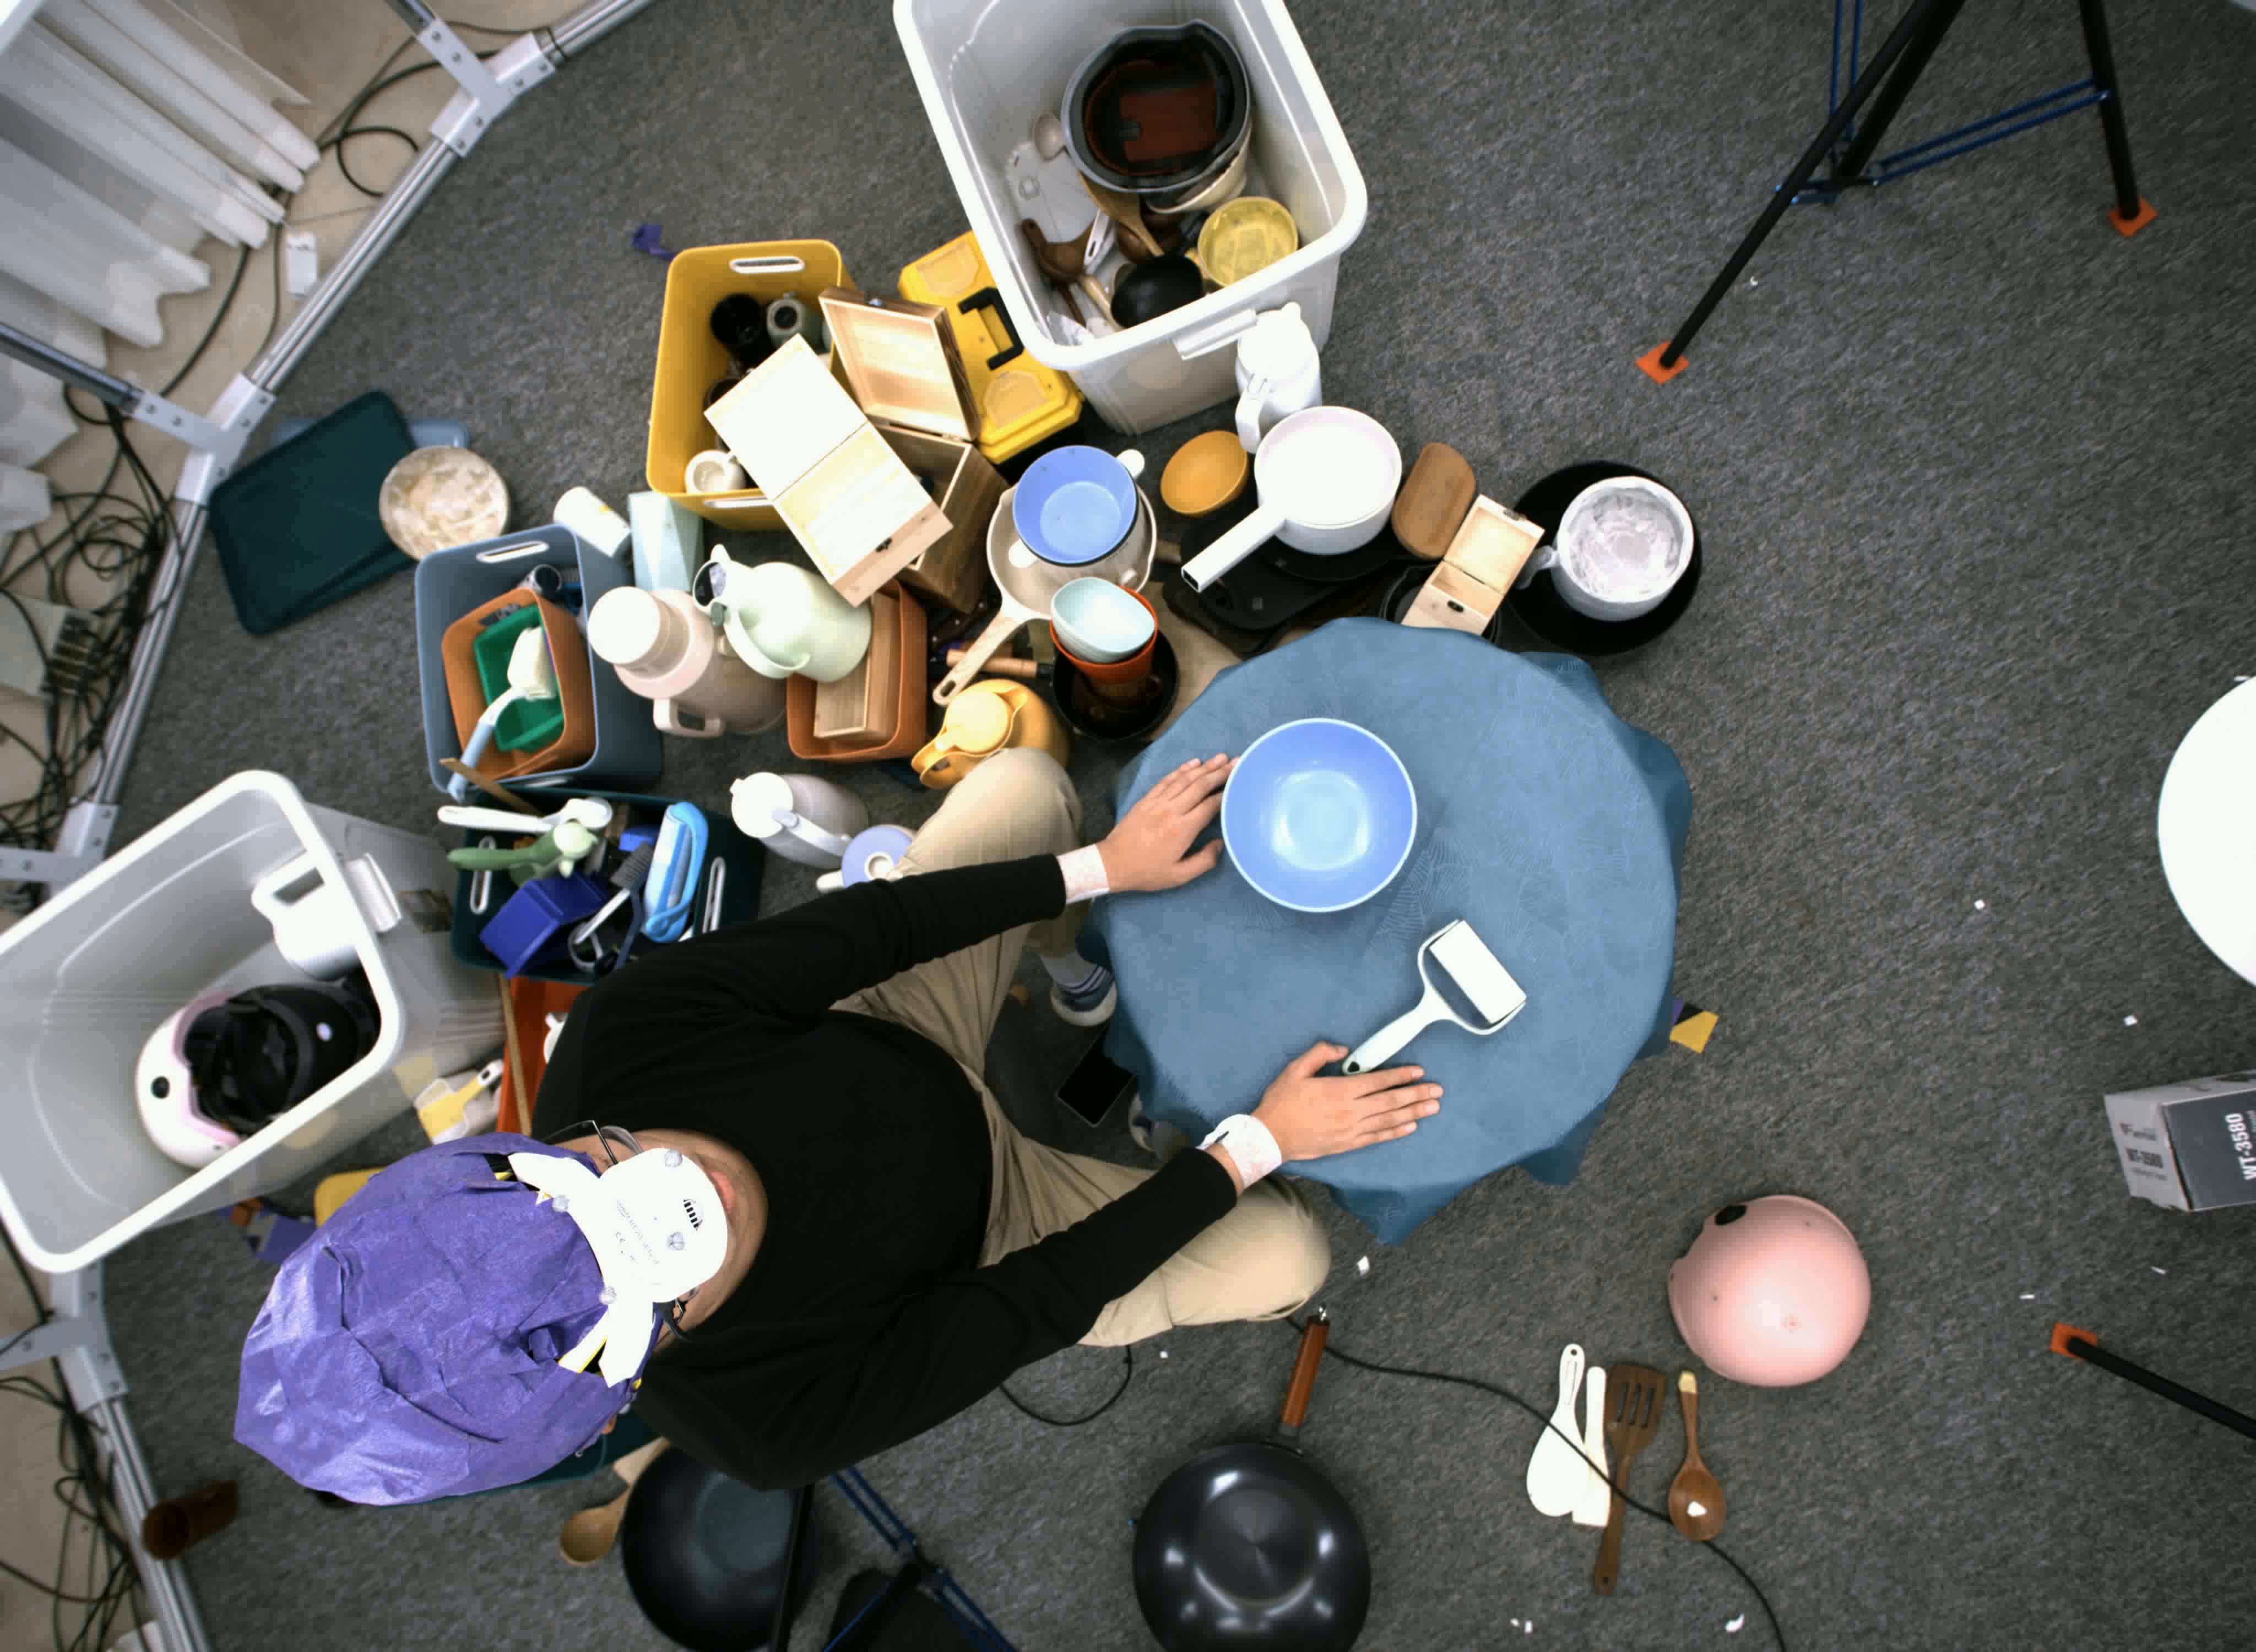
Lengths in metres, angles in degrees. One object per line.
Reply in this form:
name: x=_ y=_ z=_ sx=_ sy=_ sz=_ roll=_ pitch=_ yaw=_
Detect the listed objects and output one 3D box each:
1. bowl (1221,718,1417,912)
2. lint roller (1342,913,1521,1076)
bowl: x=0.198 y=-0.008 z=1.429 sx=0.197 sy=0.095 sz=0.196 roll=-1 pitch=87 yaw=10
lint roller: x=0.297 y=0.188 z=1.426 sx=0.198 sy=0.048 sz=0.116 roll=-40 pitch=82 yaw=7
